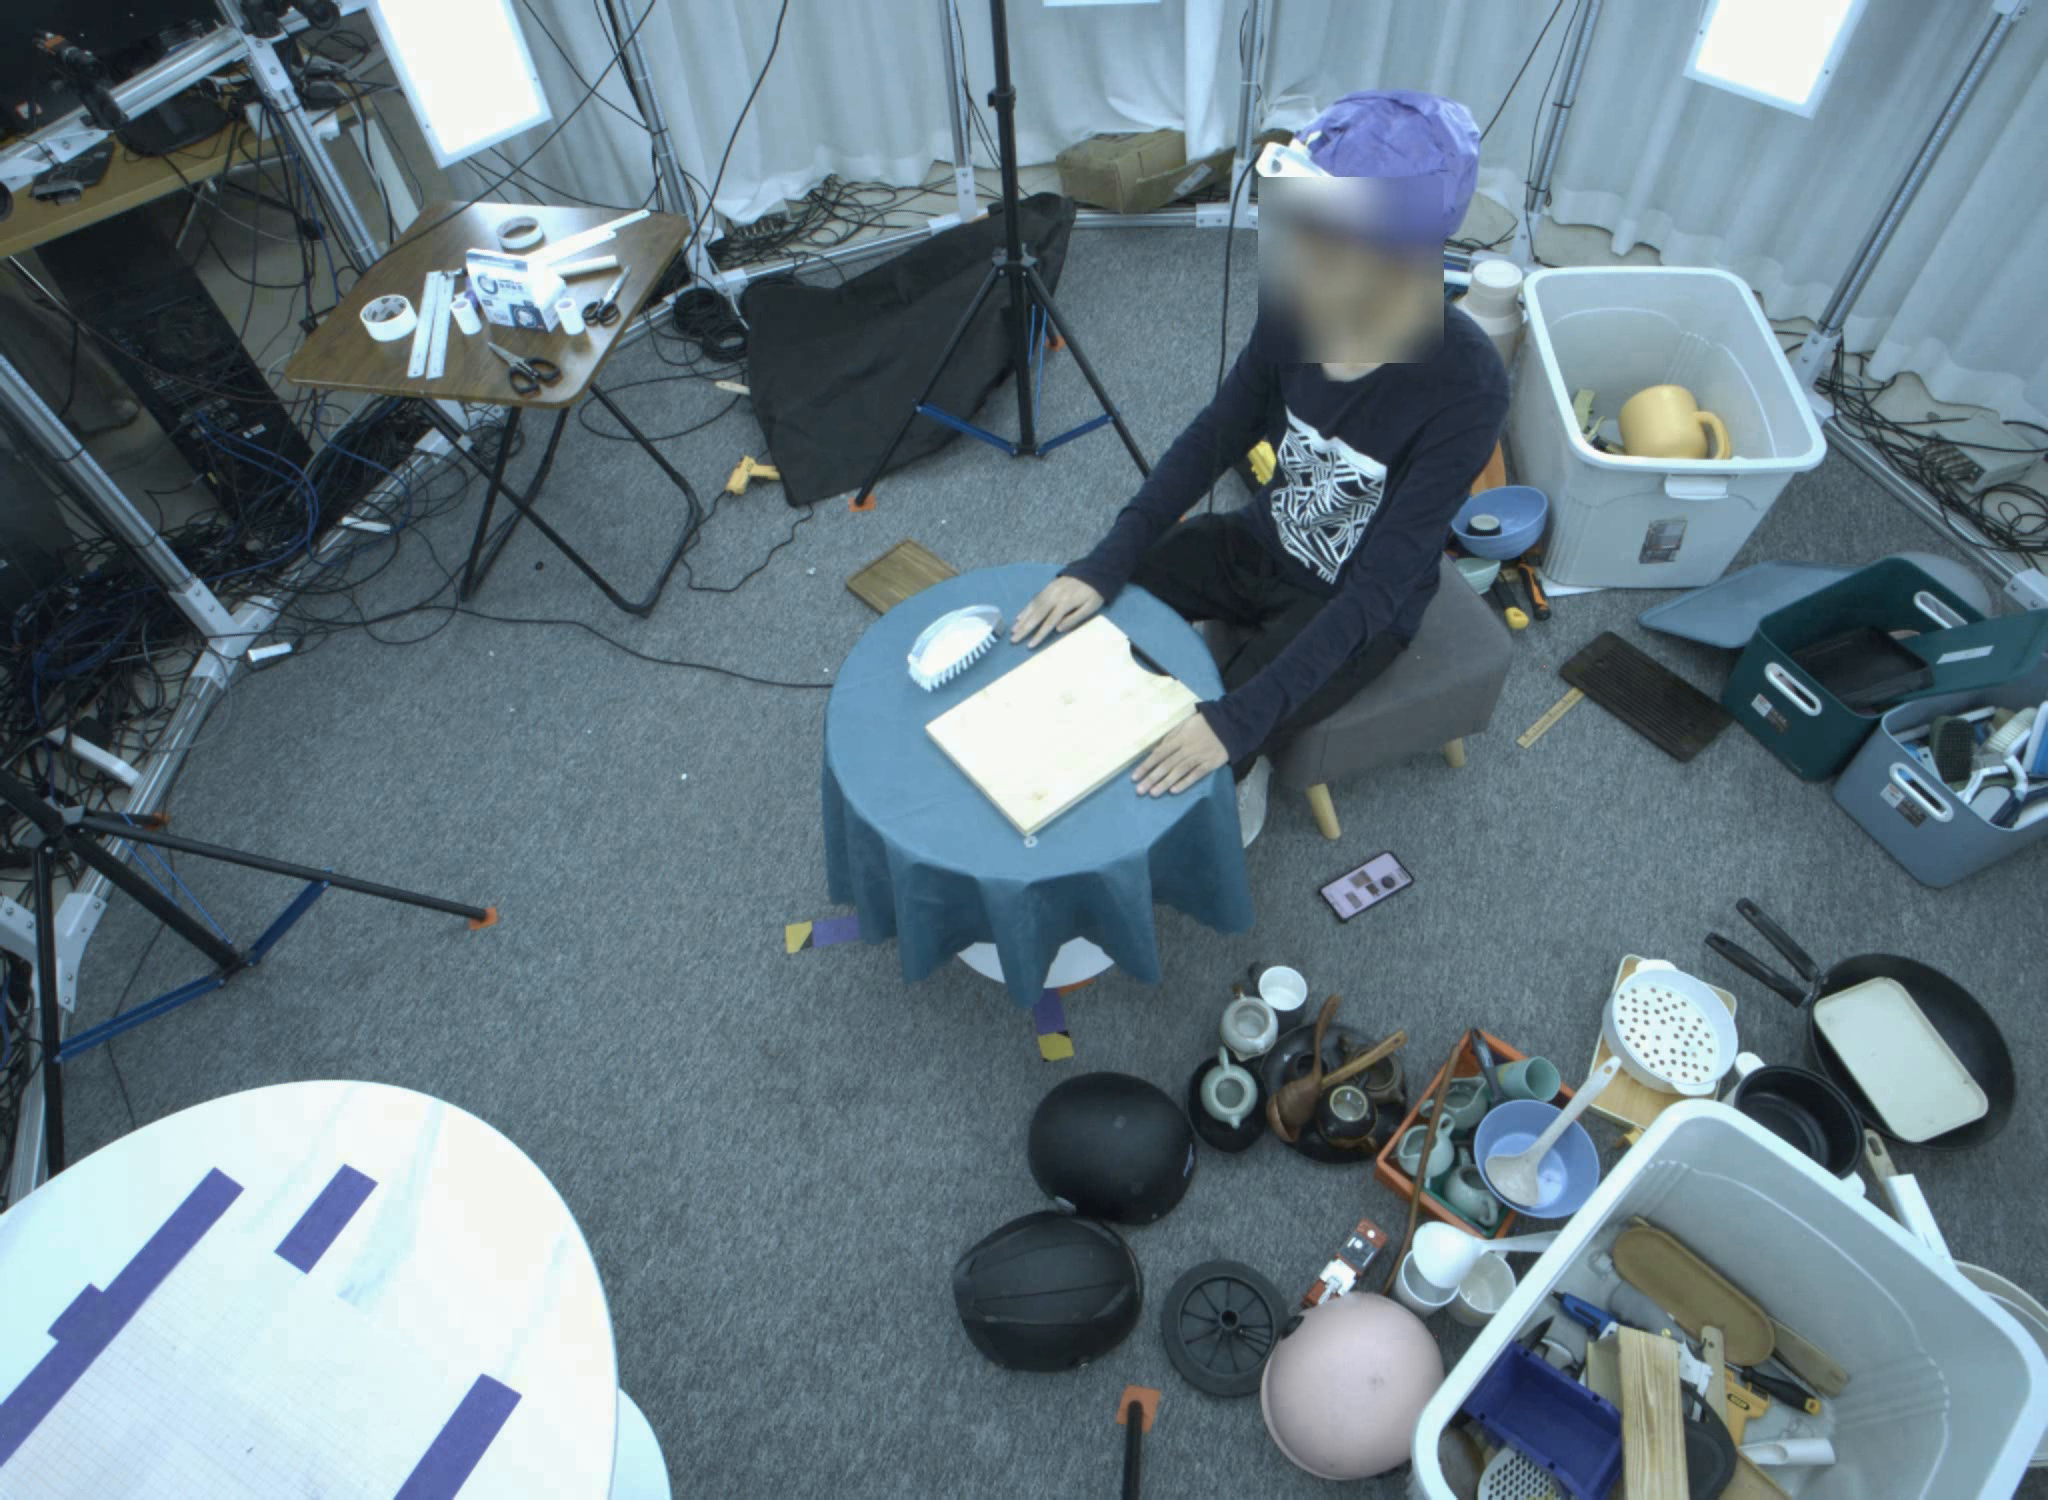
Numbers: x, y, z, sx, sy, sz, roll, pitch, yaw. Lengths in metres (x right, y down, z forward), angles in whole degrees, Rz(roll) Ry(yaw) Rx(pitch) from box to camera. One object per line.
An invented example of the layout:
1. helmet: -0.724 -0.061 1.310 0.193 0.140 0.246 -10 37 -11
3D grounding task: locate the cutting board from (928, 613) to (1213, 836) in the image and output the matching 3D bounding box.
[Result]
1. cutting board: 0.066 -0.047 1.802 0.351 0.024 0.246 -35 61 -21

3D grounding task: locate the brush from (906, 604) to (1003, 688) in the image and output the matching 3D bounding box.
1. brush: -0.102 -0.176 1.853 0.177 0.095 0.060 -34 59 -23
